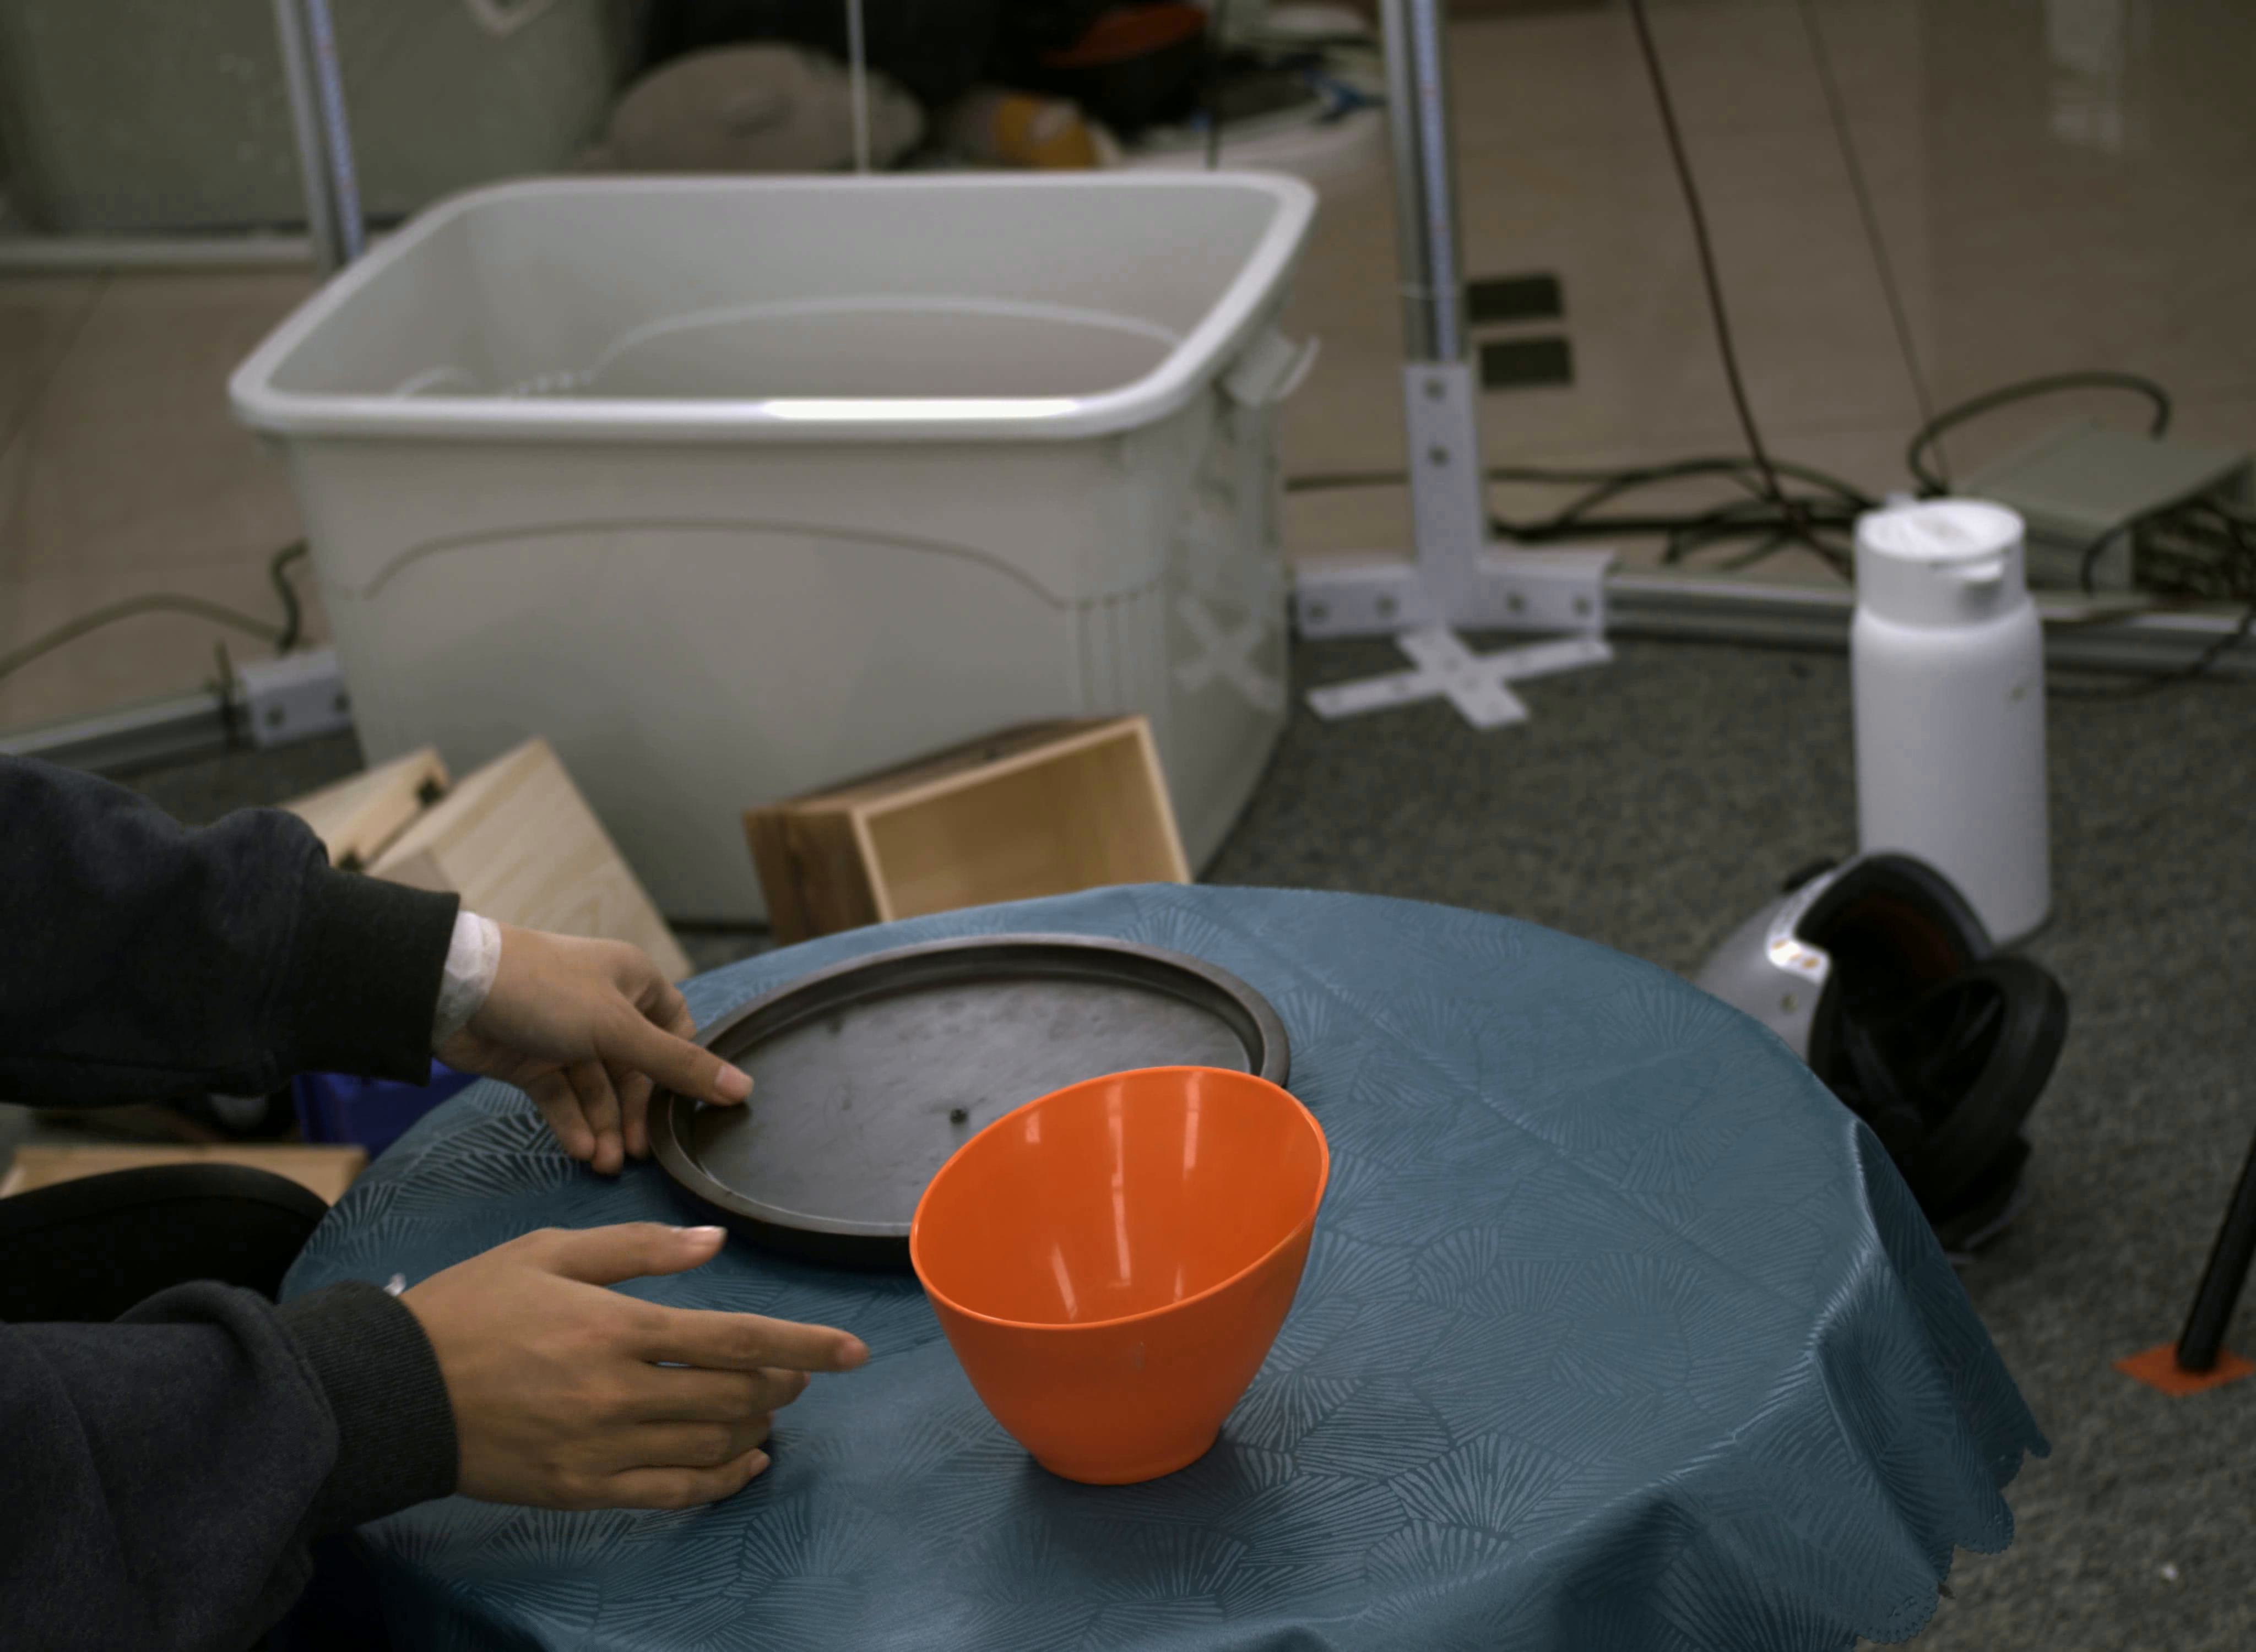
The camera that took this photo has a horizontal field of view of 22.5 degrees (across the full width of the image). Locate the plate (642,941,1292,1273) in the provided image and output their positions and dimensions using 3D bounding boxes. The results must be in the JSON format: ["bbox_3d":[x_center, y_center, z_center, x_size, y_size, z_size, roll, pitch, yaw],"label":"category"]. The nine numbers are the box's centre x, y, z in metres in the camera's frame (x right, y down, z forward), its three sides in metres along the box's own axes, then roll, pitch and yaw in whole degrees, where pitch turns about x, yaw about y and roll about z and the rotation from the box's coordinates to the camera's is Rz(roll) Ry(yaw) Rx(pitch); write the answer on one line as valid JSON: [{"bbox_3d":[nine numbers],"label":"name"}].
[{"bbox_3d":[-0.062,0.107,2.204,0.254,0.029,0.251,-5,26,2],"label":"plate"}]

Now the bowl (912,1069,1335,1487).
[{"bbox_3d":[0.001,0.164,1.971,0.148,0.106,0.146,-4,26,2],"label":"bowl"}]
